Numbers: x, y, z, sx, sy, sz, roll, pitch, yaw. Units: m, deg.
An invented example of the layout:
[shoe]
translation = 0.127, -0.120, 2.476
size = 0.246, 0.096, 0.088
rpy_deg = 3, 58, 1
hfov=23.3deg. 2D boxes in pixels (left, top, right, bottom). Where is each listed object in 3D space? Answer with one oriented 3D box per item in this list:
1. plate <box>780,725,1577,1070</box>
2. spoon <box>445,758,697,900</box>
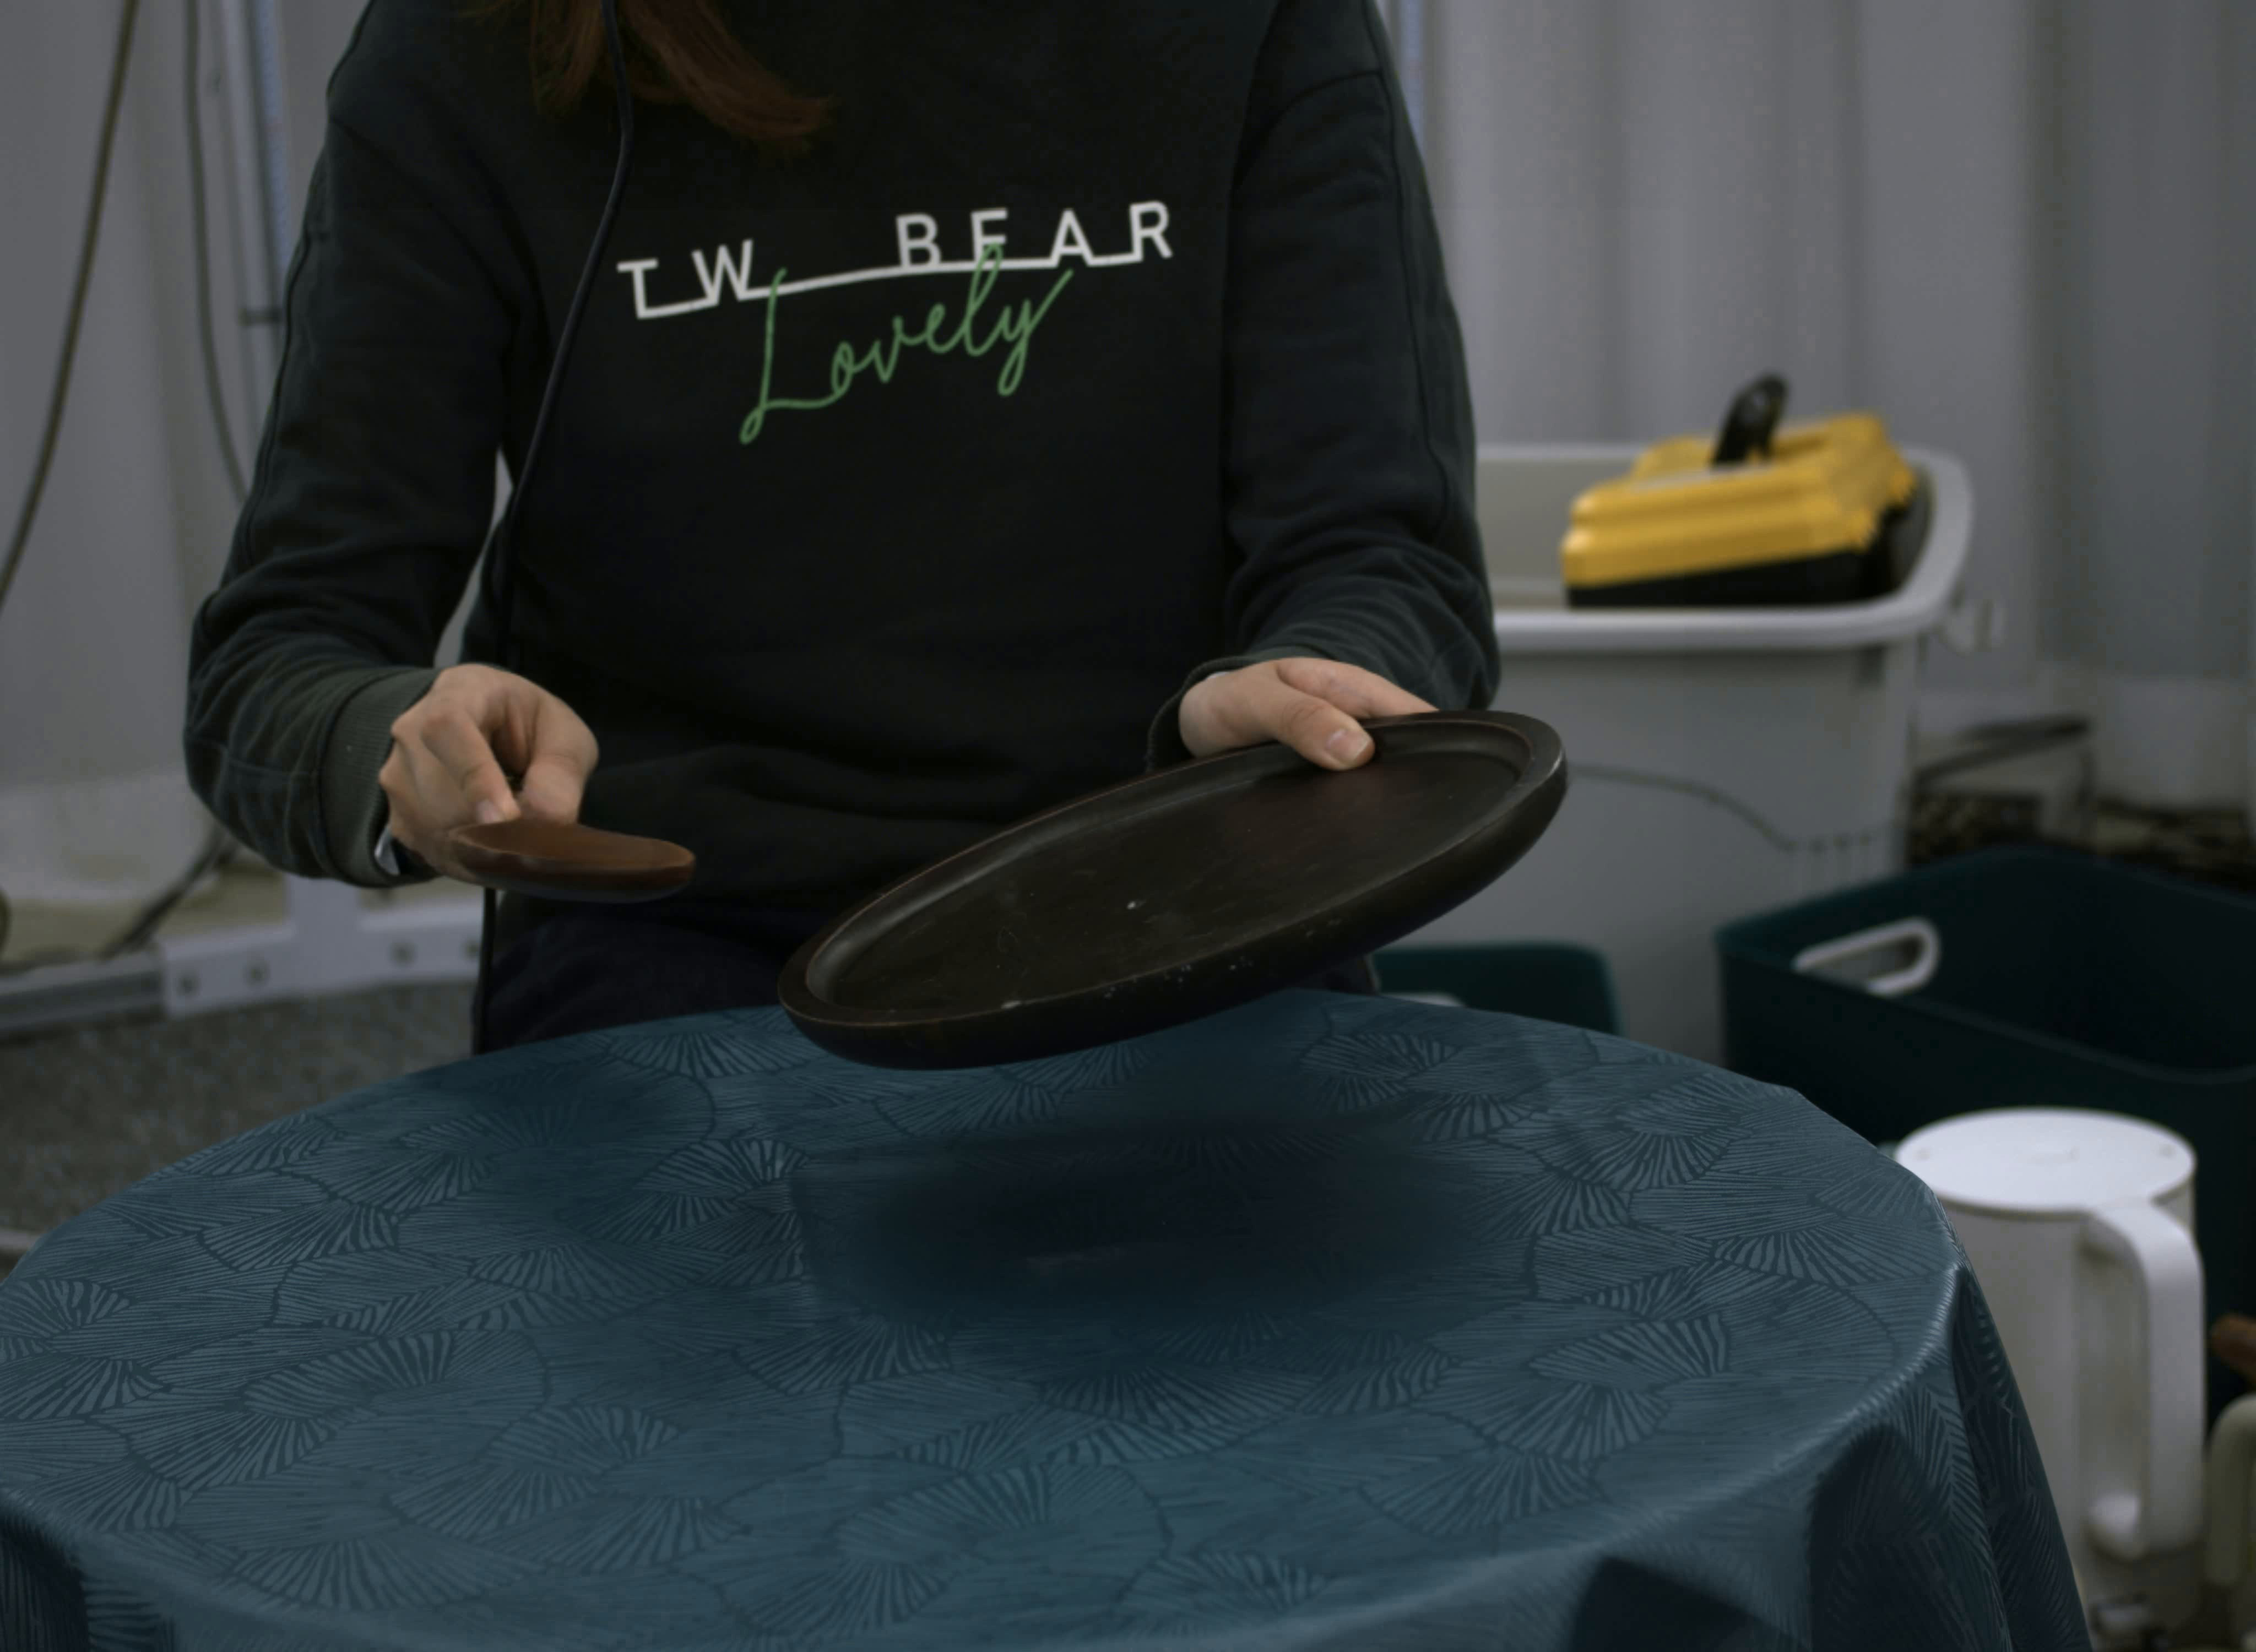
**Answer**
[plate]
translation = 0.016, 0.020, 1.675
size = 0.254, 0.029, 0.256
rpy_deg = -16, 14, 4
[spoon]
translation = -0.184, 0.002, 1.705
size = 0.075, 0.017, 0.217
rpy_deg = 3, 8, -16
